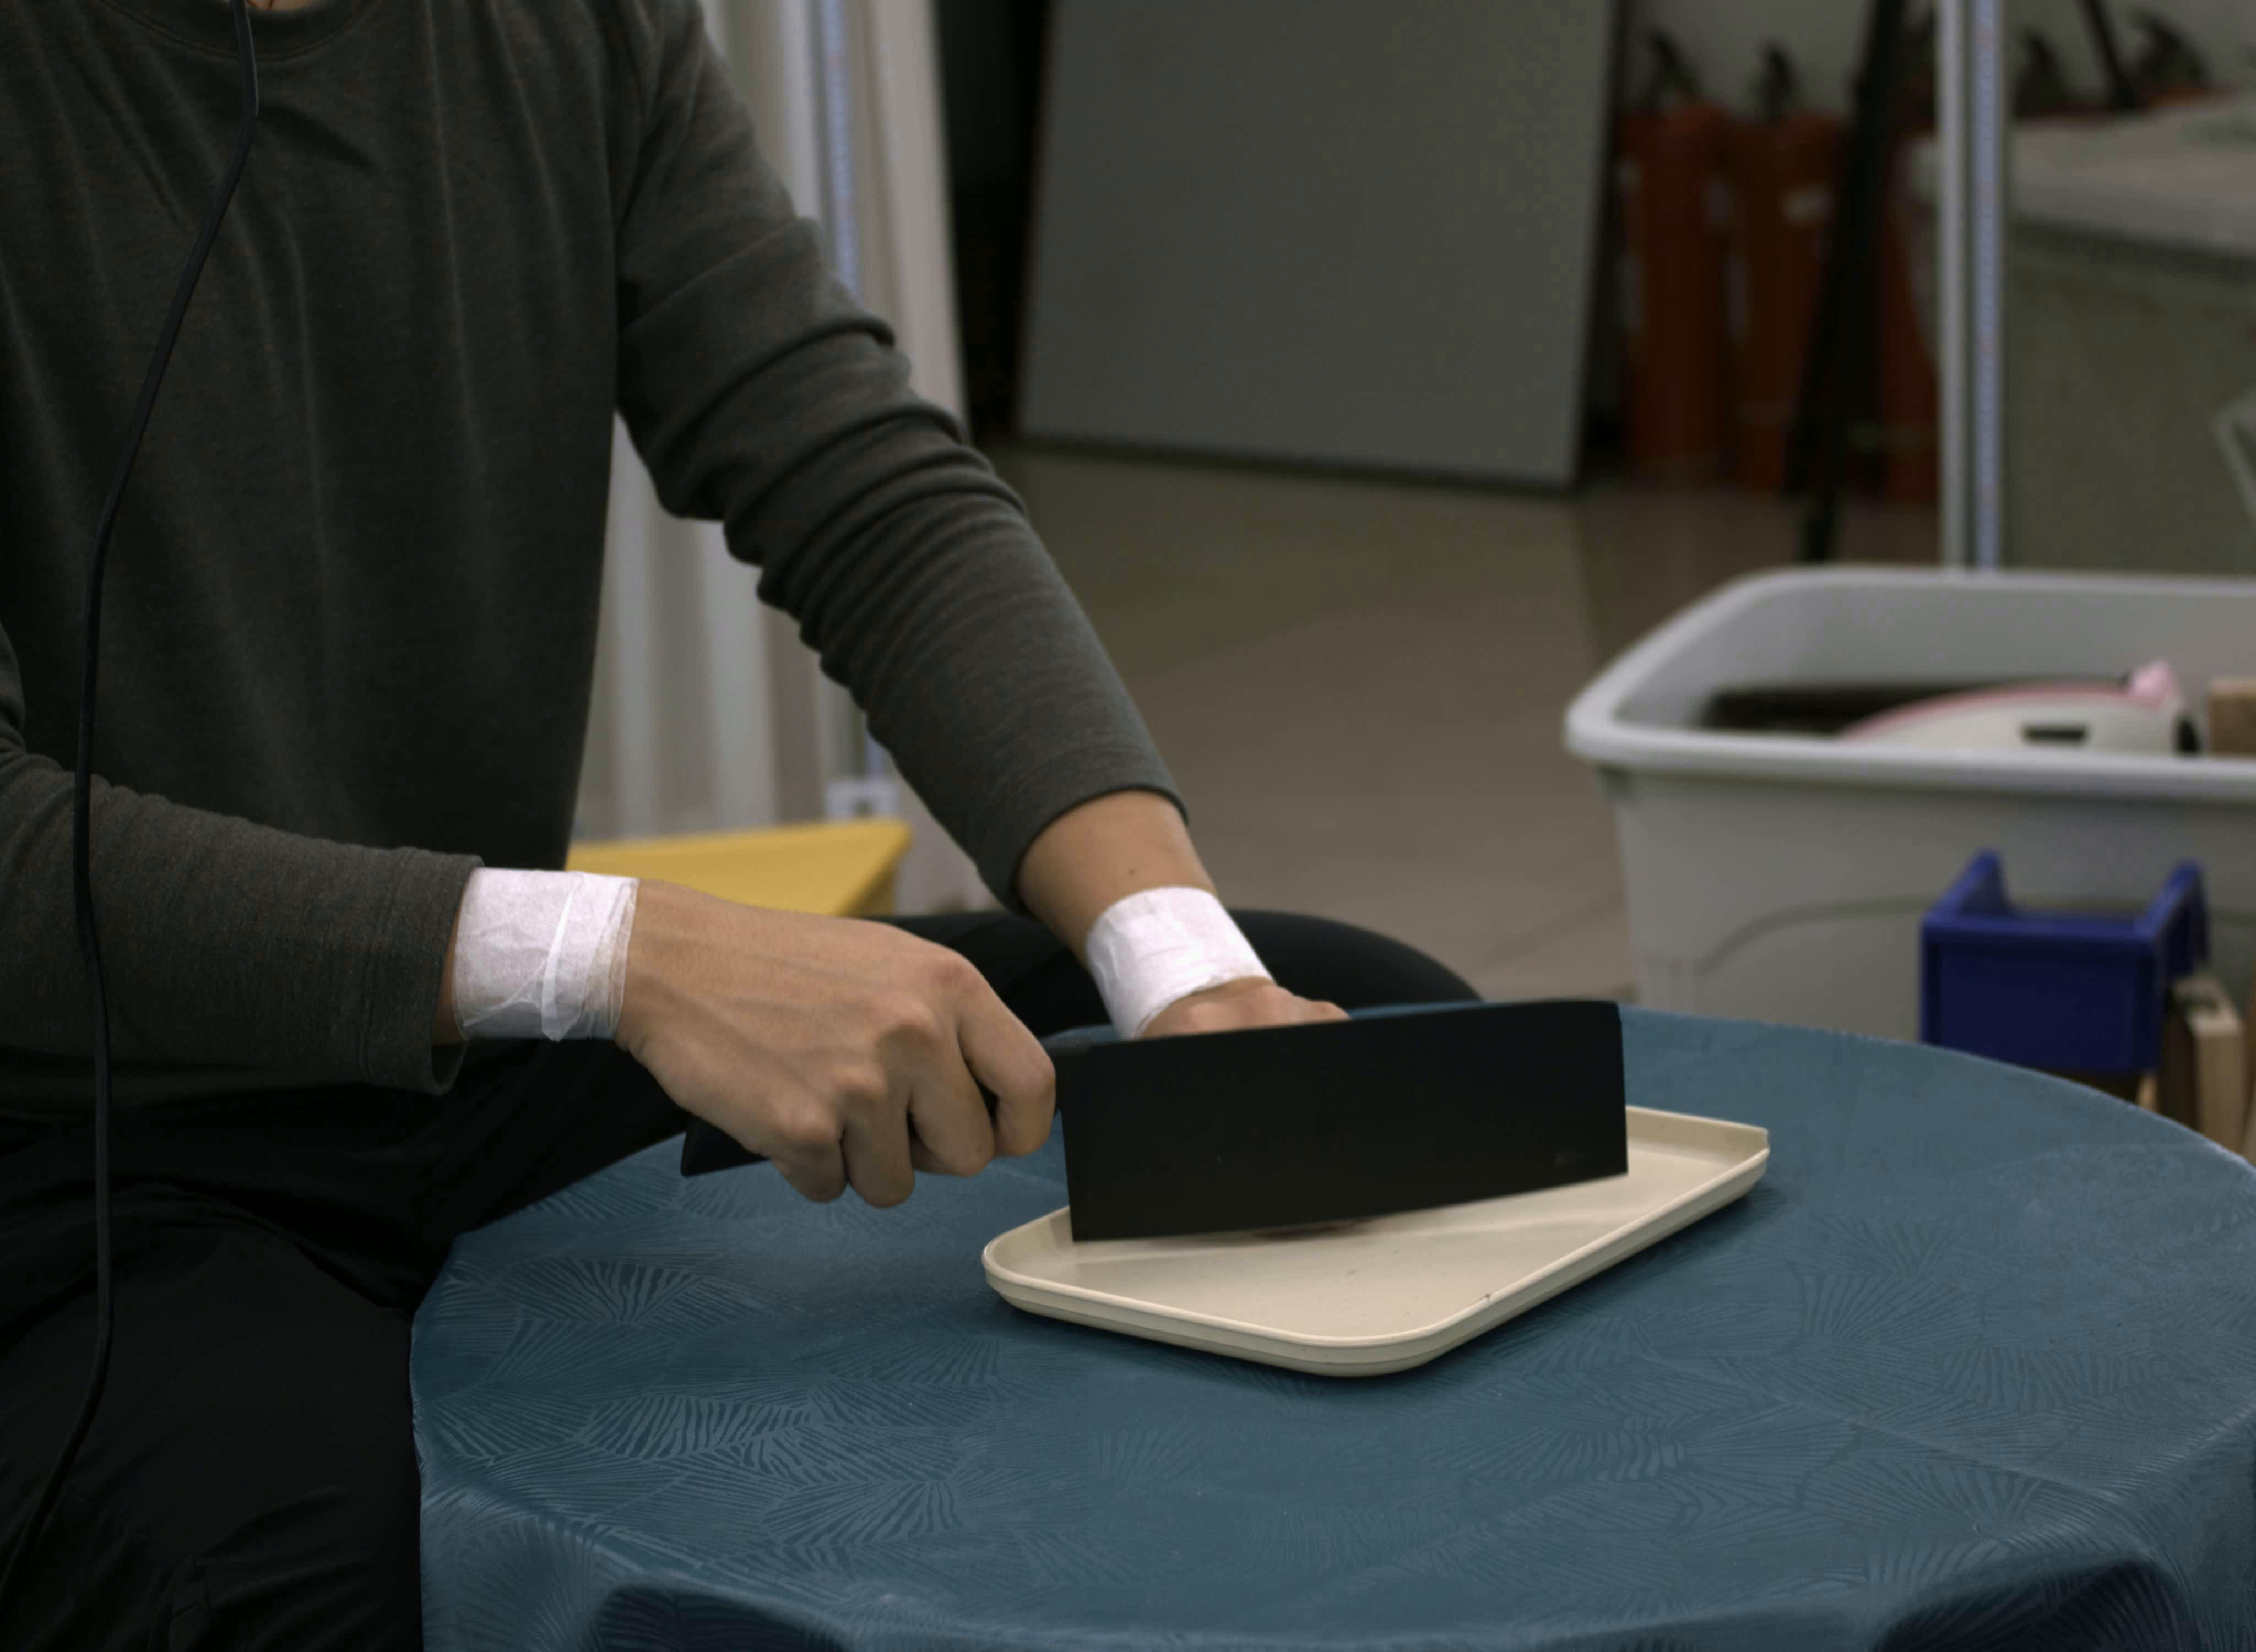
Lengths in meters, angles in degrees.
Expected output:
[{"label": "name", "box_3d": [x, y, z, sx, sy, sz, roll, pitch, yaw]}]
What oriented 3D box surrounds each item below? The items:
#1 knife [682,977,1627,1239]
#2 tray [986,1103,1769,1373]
[{"label": "knife", "box_3d": [0.010, 0.091, 1.689, 0.298, 0.082, 0.021, -1, 10, -3]}, {"label": "tray", "box_3d": [0.082, 0.125, 1.698, 0.172, 0.017, 0.235, 6, 17, 39]}]
